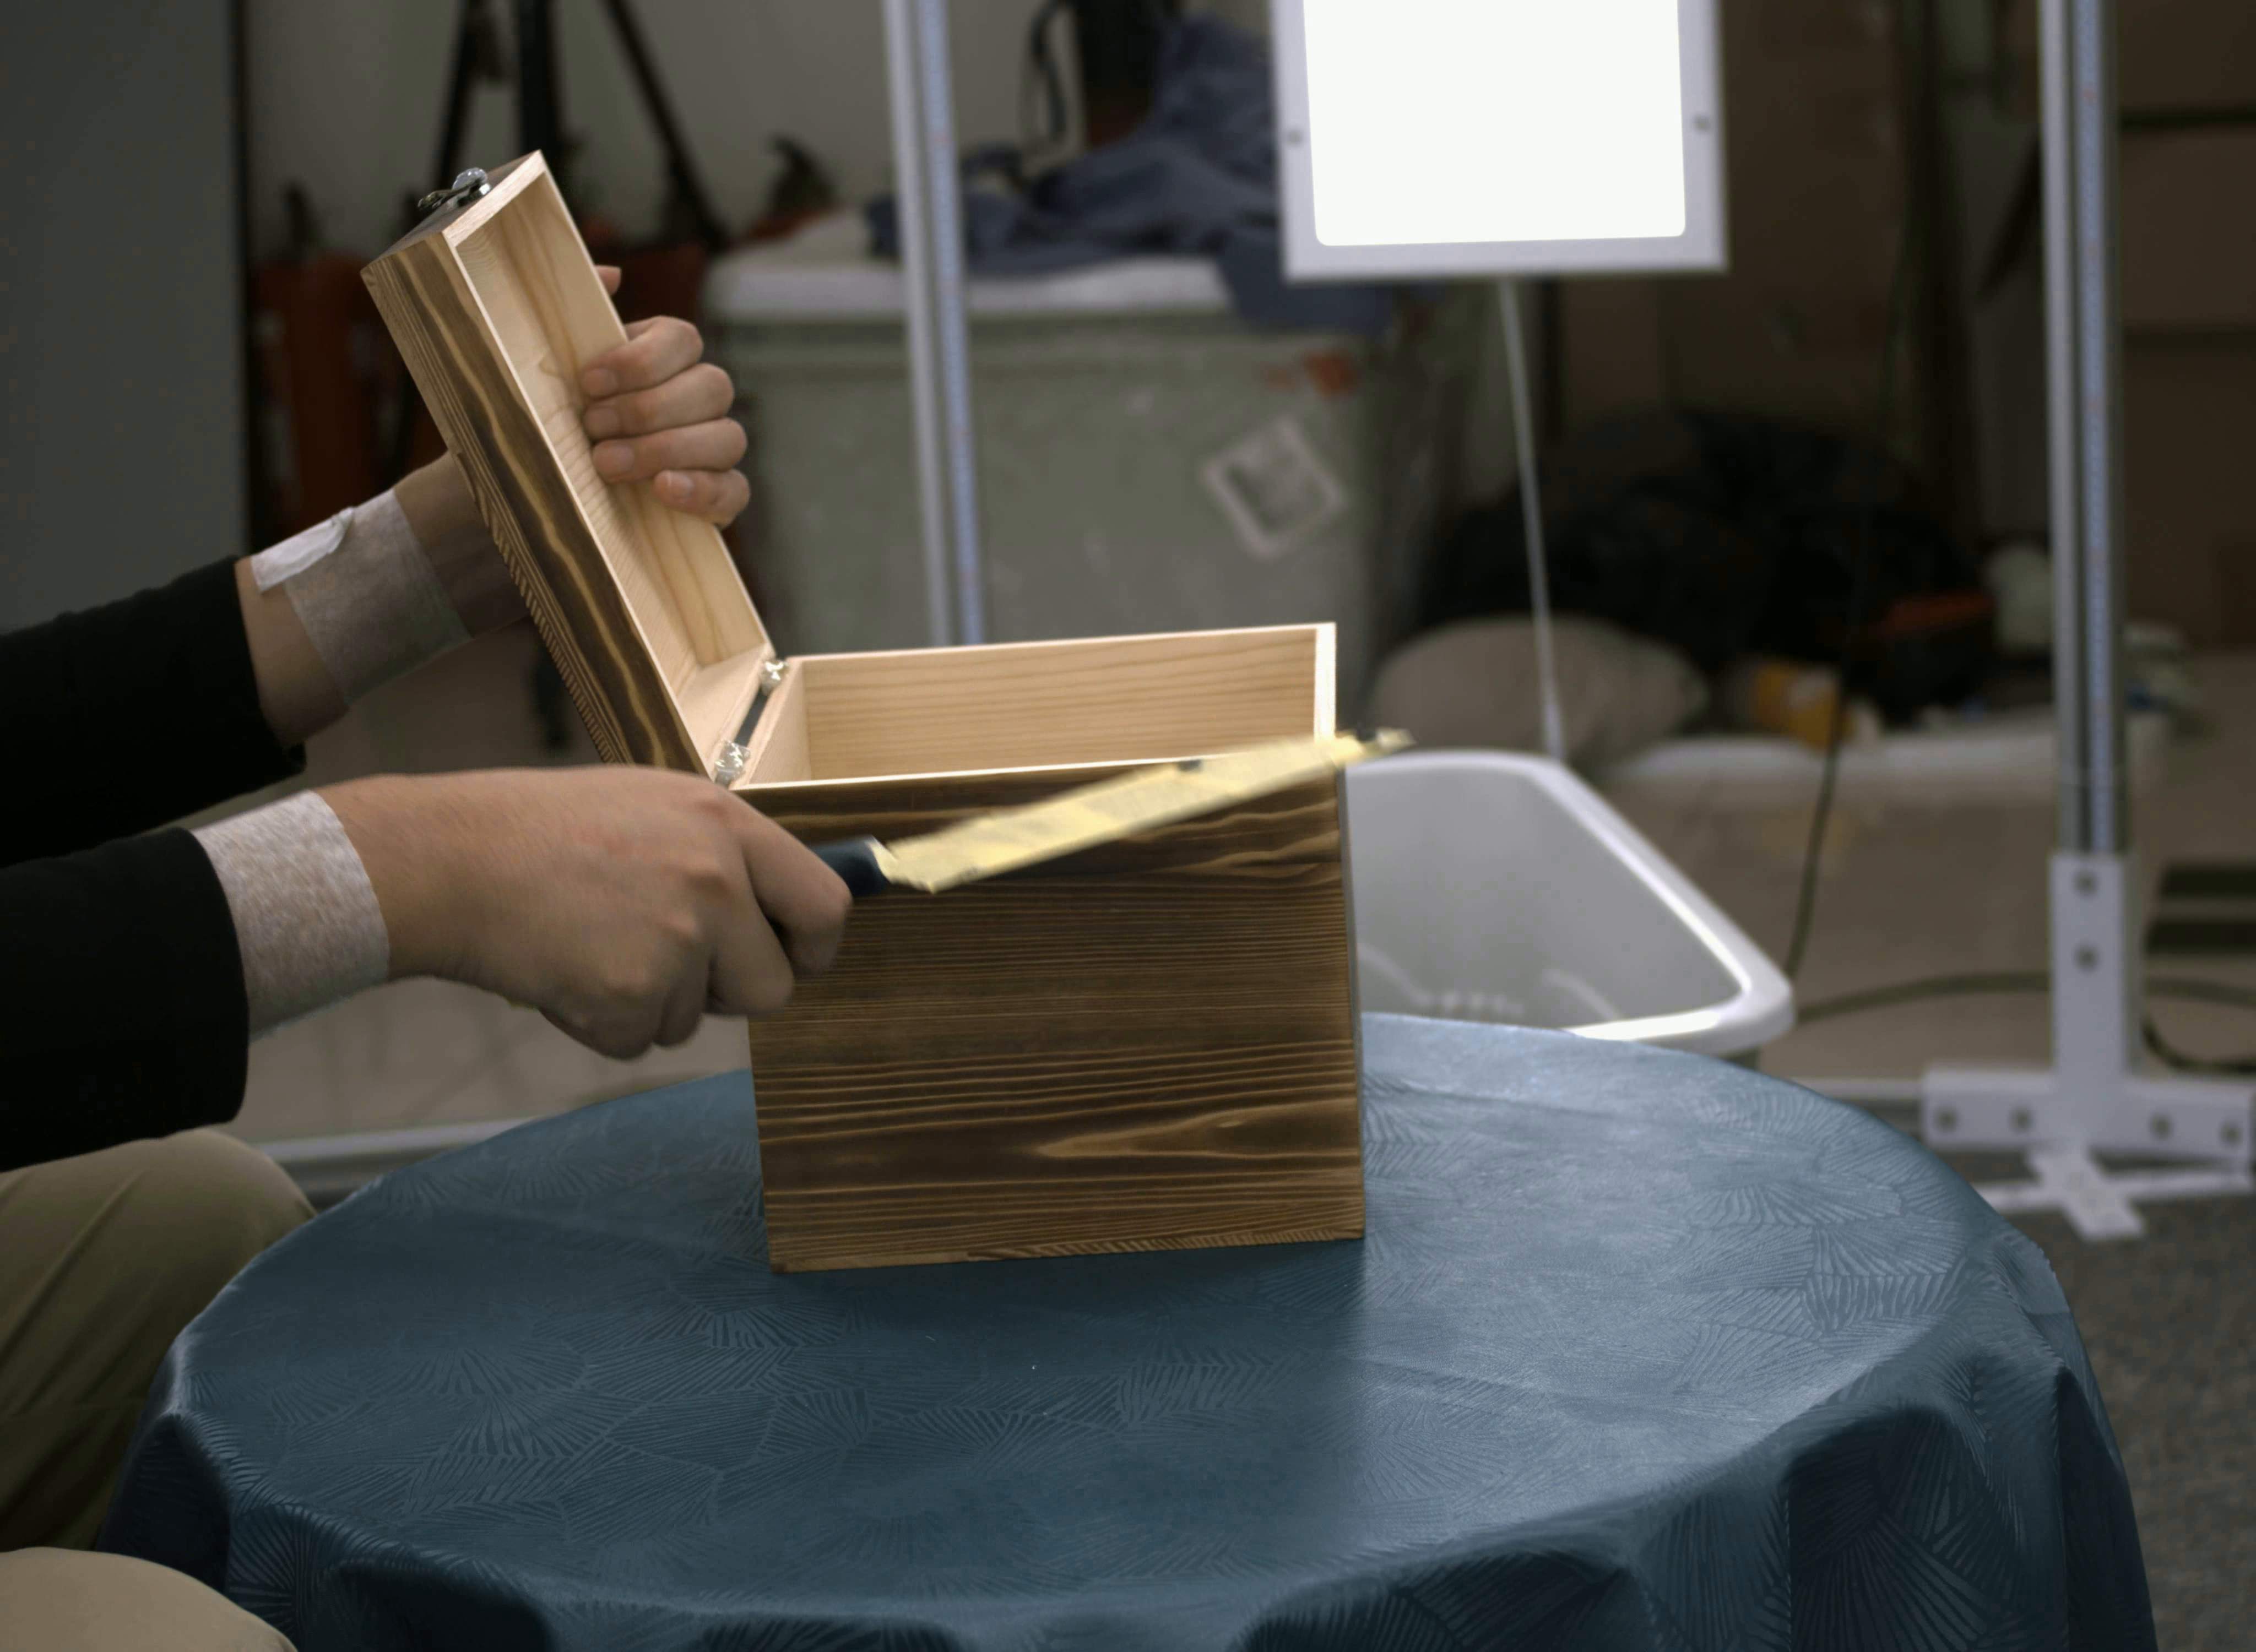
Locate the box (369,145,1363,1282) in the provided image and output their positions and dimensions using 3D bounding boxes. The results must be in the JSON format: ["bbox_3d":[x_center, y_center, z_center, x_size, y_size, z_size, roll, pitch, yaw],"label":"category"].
[{"bbox_3d":[-0.081,-0.050,1.891,0.322,0.377,0.207,-4,15,5],"label":"box"}]

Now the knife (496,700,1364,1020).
[{"bbox_3d":[-0.056,0.006,1.691,0.285,0.027,0.082,-19,9,-16],"label":"knife"}]
